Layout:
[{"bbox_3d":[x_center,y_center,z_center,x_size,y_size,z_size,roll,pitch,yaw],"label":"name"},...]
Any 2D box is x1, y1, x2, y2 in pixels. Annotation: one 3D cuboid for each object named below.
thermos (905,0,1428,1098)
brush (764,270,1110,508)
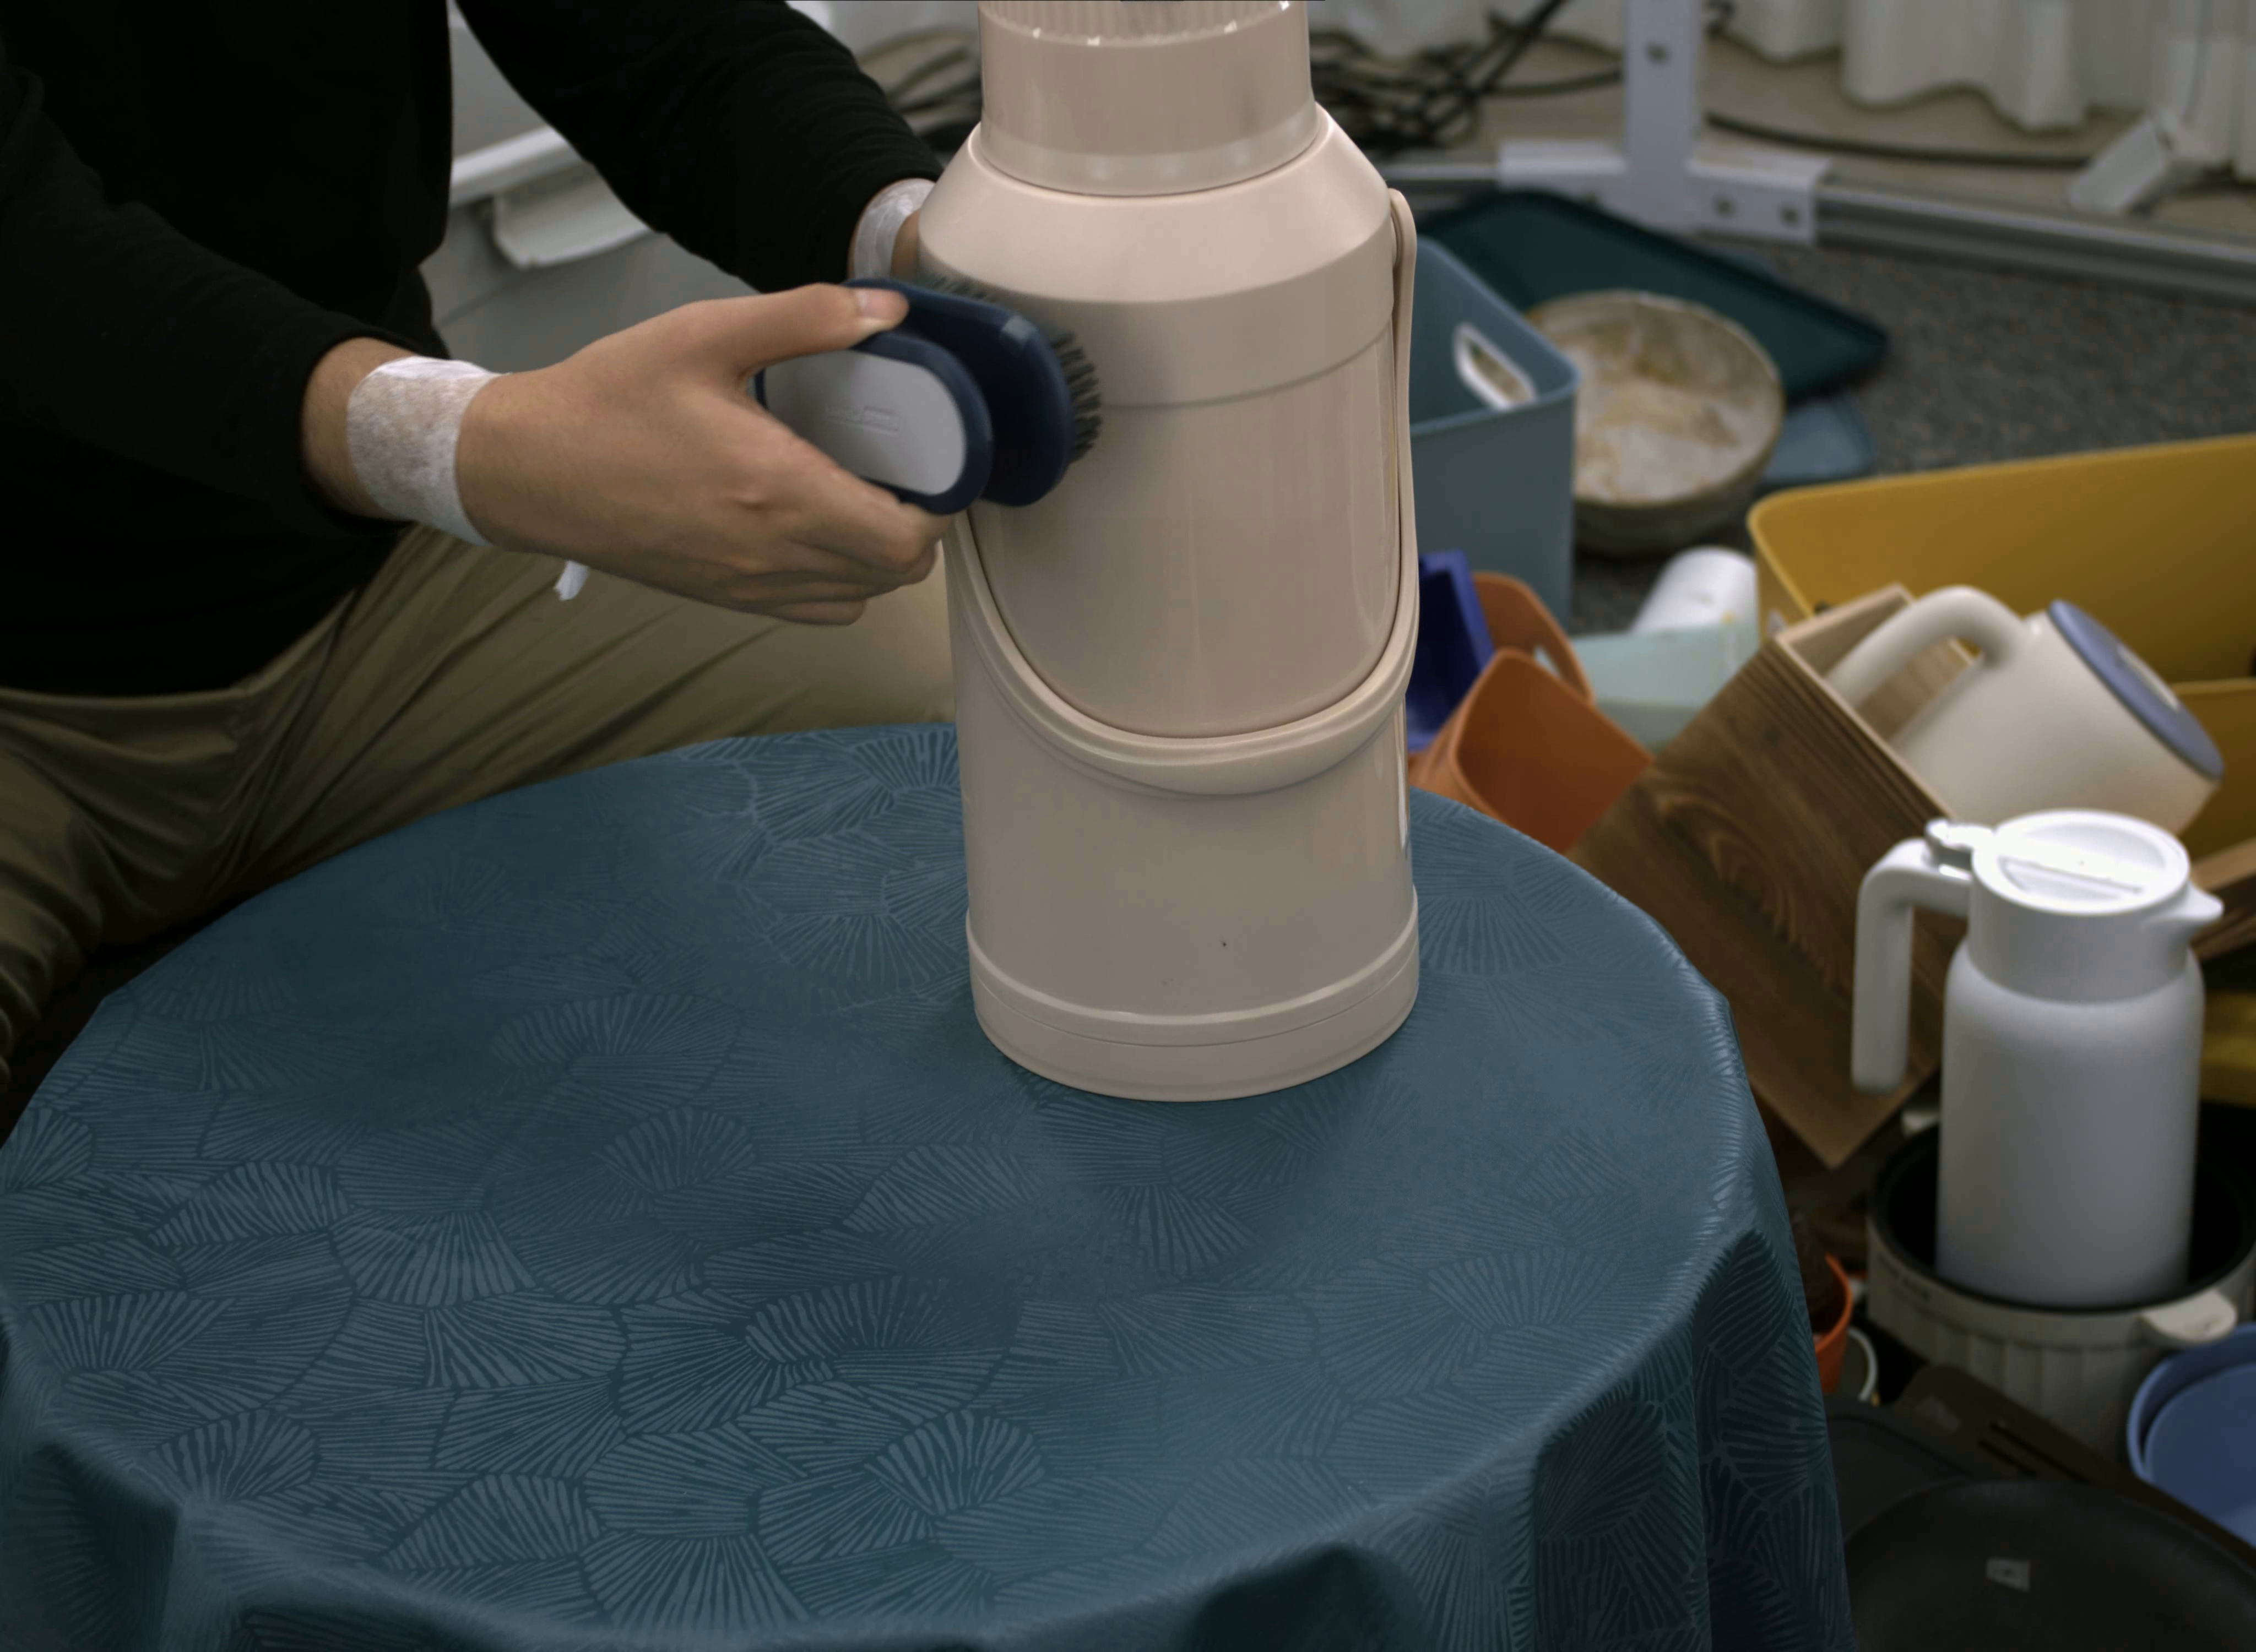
[{"bbox_3d":[0.012,-0.125,1.910,0.176,0.402,0.209,-13,28,-16],"label":"thermos"},{"bbox_3d":[-0.059,-0.140,1.789,0.062,0.067,0.121,-22,29,-38],"label":"brush"}]
